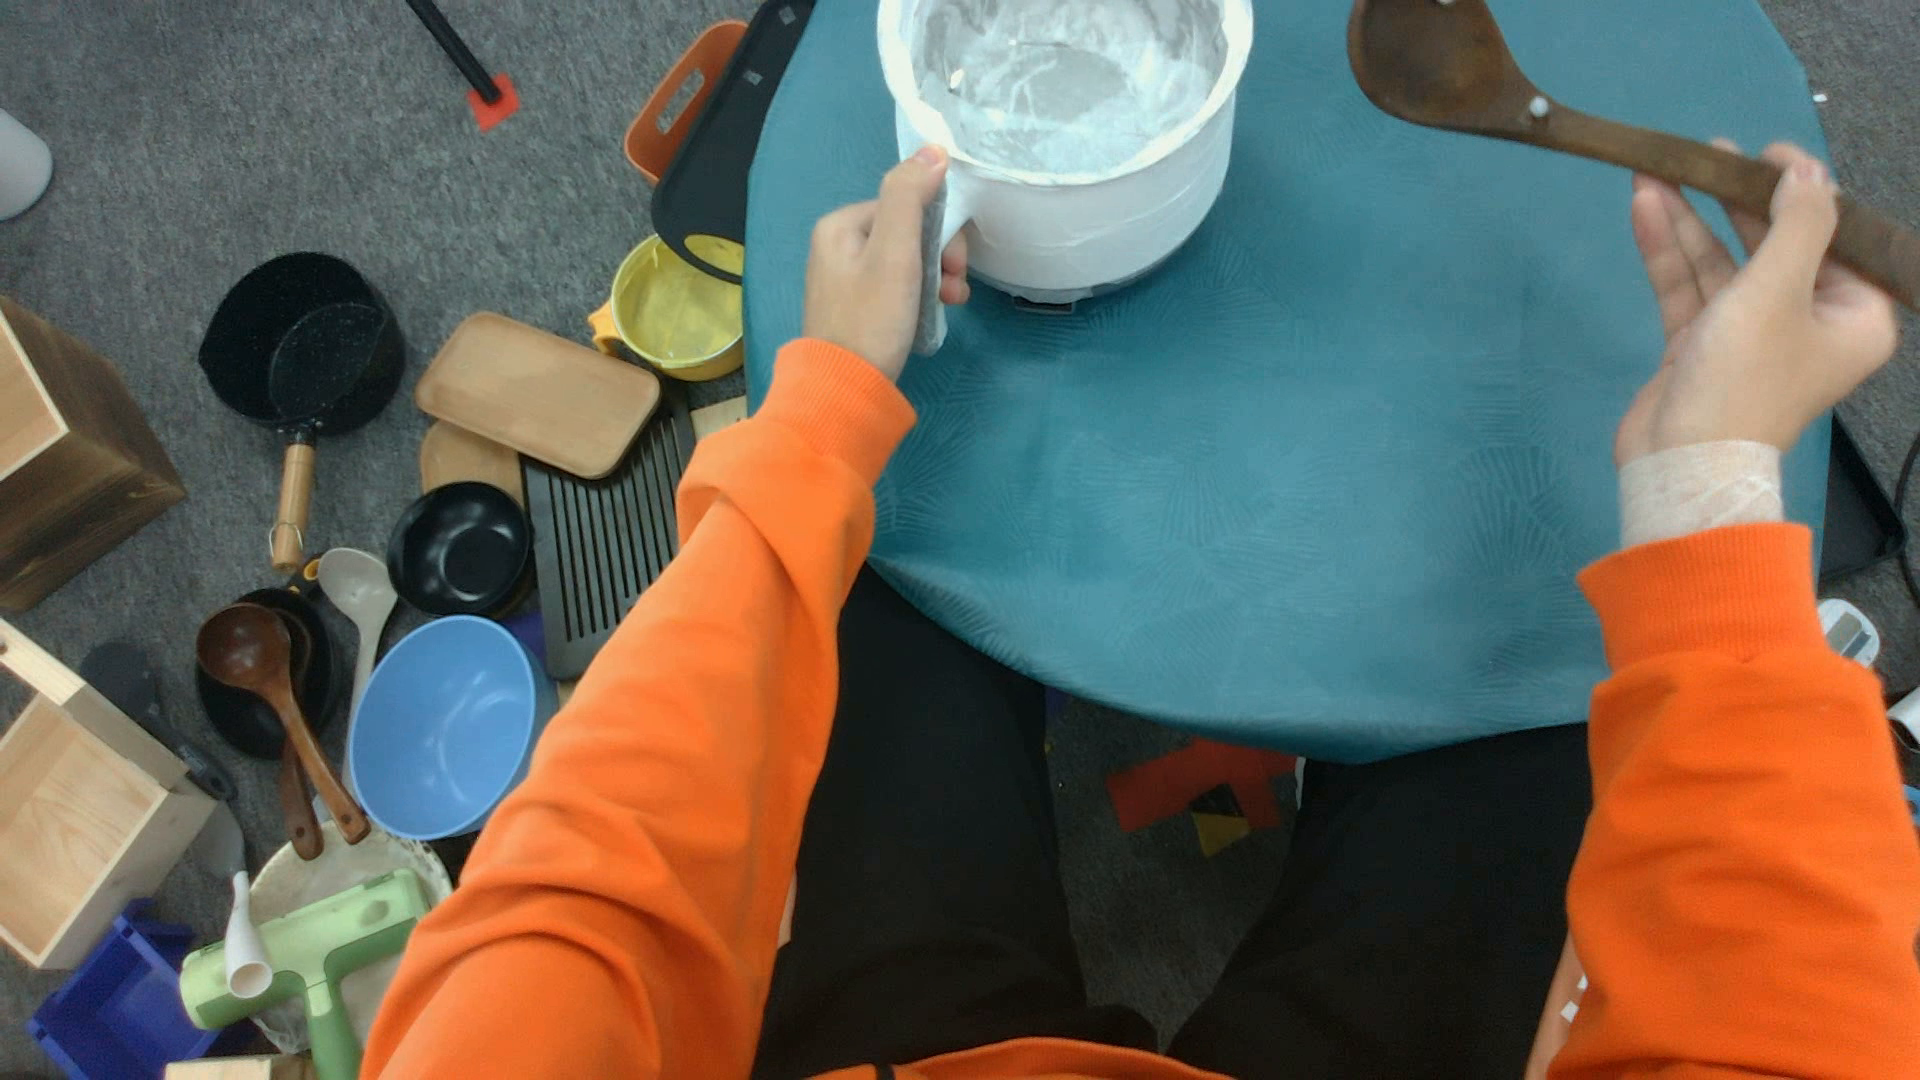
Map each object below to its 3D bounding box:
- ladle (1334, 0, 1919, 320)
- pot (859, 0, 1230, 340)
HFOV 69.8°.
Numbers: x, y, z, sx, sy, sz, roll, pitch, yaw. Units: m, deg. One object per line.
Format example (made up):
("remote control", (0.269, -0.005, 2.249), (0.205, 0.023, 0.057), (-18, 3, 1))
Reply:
("ladle", (0.283, -0.177, 0.585), (0.274, 0.071, 0.076), (37, 83, 31))
("pot", (0.028, -0.212, 0.710), (0.179, 0.136, 0.234), (33, 77, 13))
